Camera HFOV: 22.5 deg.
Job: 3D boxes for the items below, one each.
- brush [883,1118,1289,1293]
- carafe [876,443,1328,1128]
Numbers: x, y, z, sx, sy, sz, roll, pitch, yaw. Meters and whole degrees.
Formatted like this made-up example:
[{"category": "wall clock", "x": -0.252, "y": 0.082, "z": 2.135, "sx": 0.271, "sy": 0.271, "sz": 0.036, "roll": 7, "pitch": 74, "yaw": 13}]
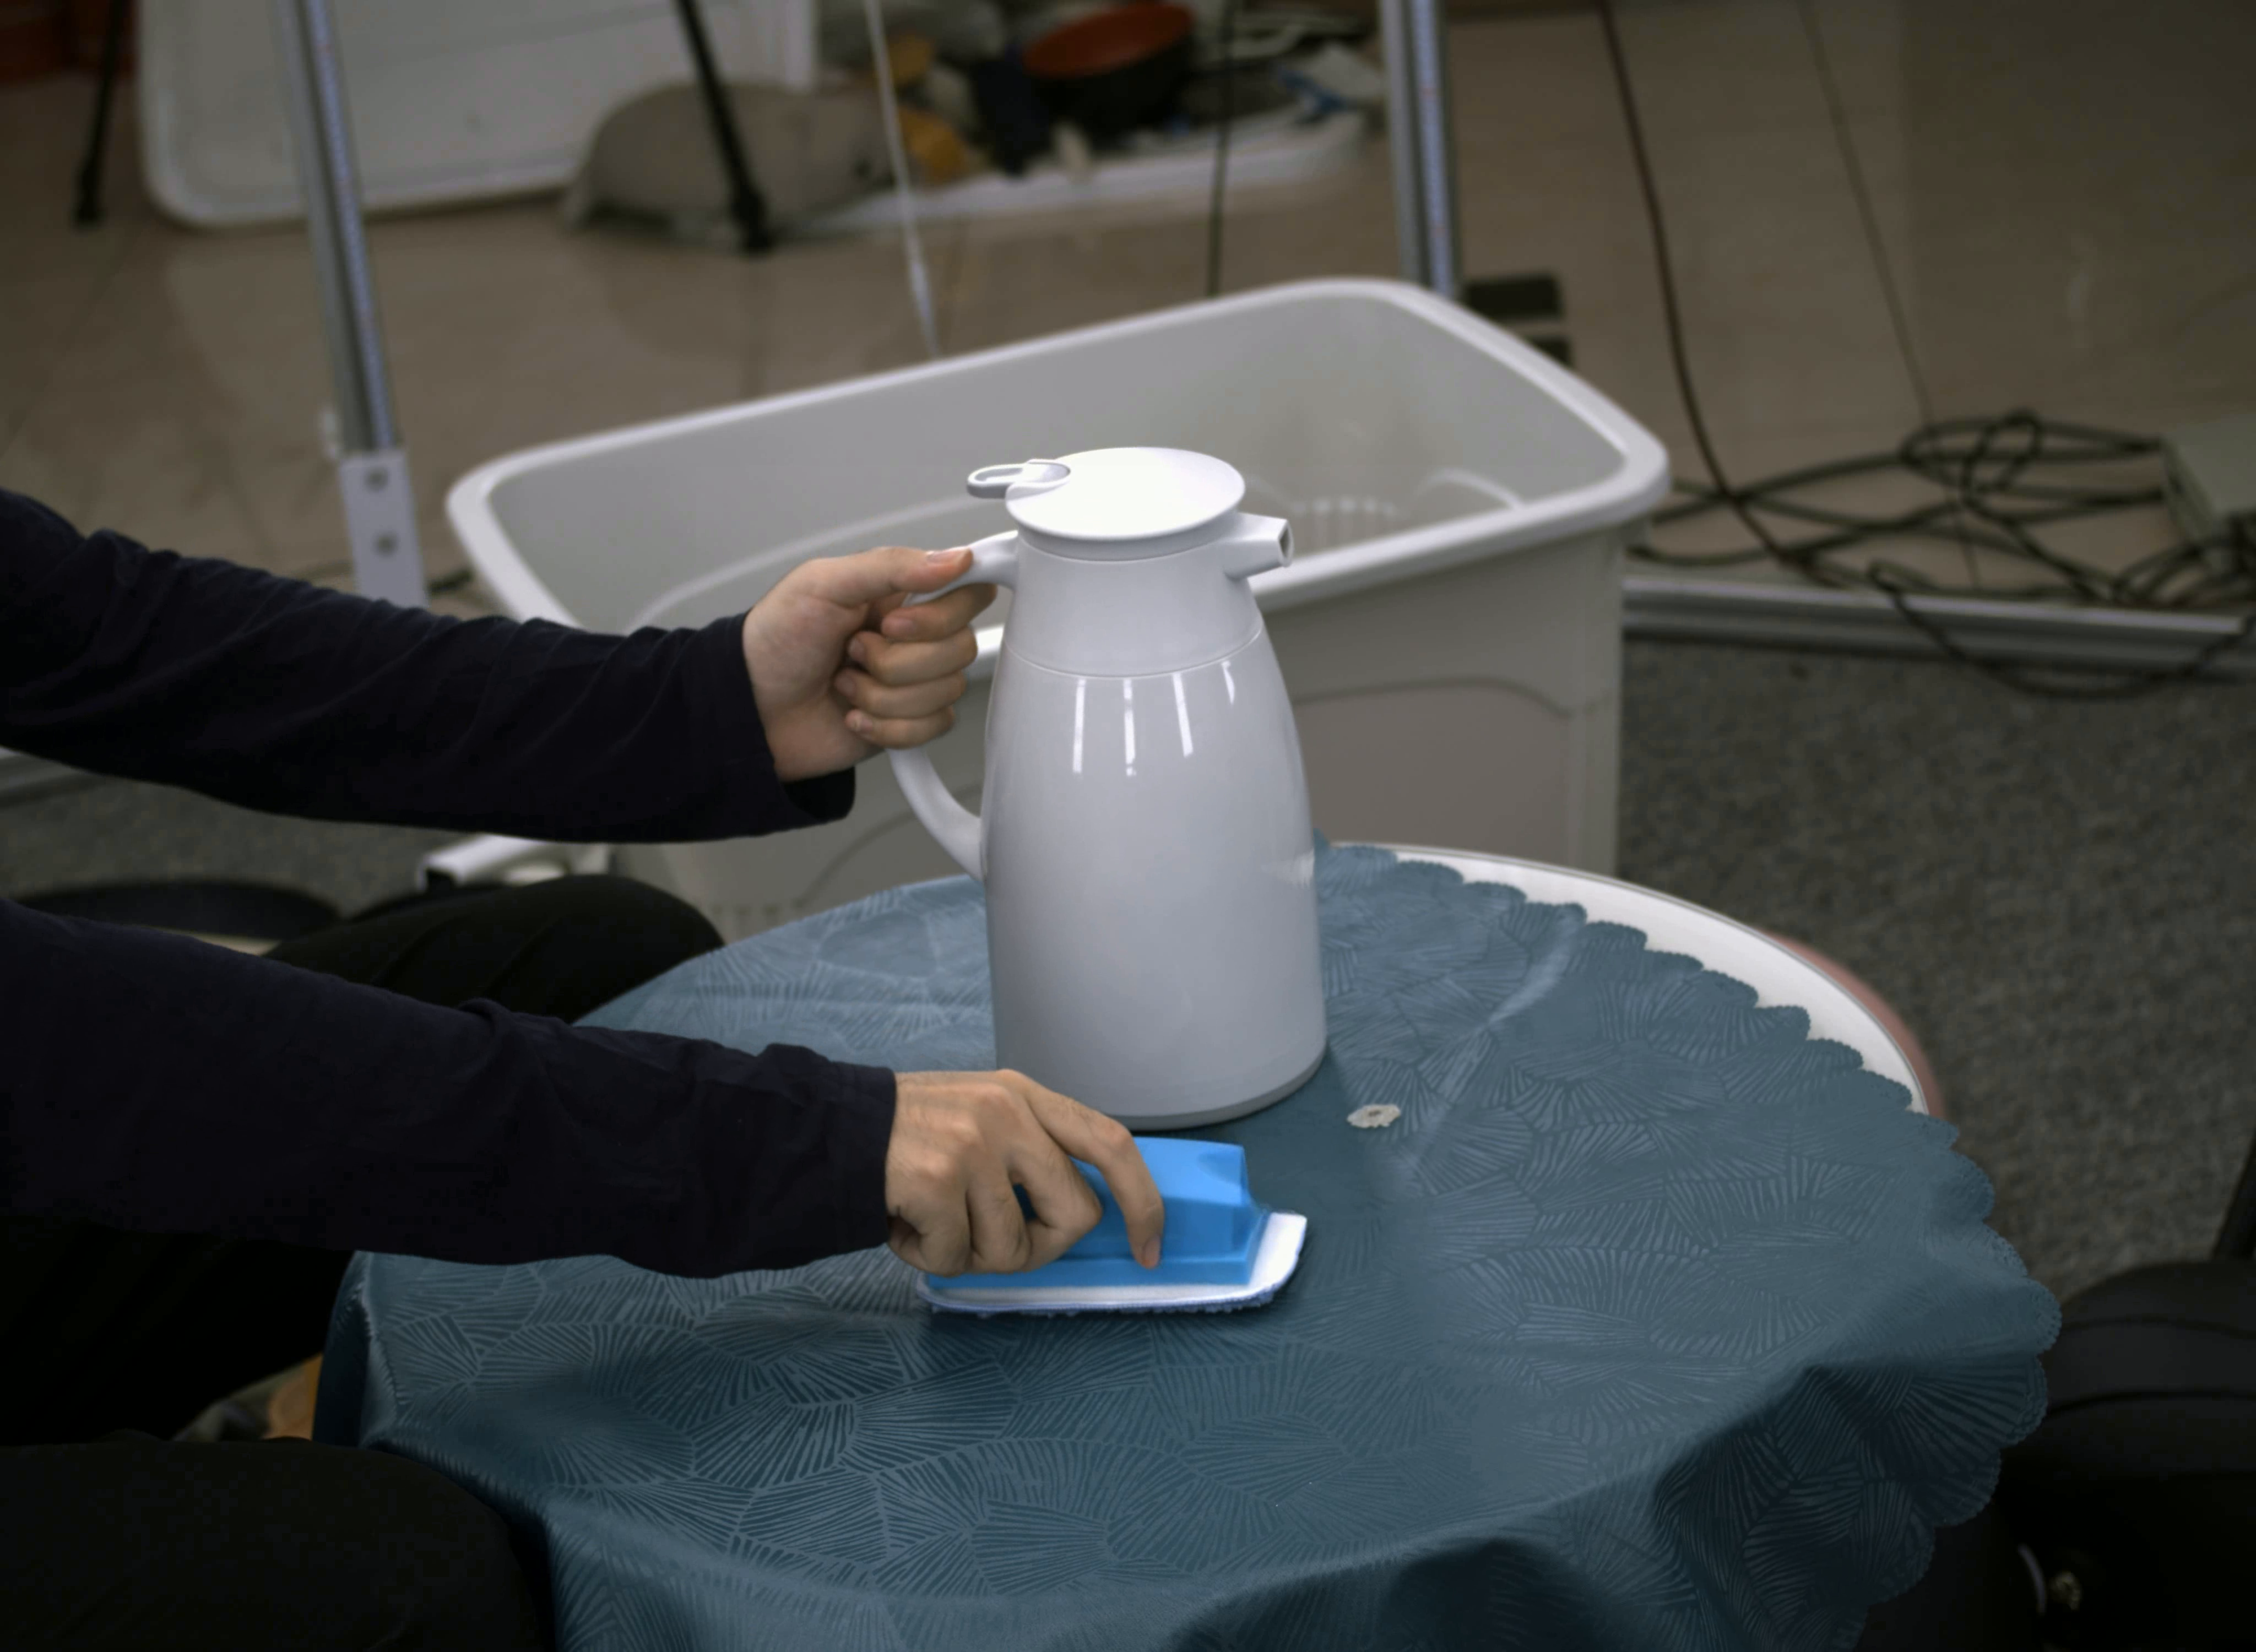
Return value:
[{"category": "brush", "x": -0.016, "y": 0.138, "z": 2.081, "sx": 0.143, "sy": 0.057, "sz": 0.083, "roll": 1, "pitch": 22, "yaw": 13}, {"category": "carafe", "x": -0.013, "y": -0.022, "z": 2.190, "sx": 0.167, "sy": 0.252, "sz": 0.130, "roll": 1, "pitch": 26, "yaw": 12}]
